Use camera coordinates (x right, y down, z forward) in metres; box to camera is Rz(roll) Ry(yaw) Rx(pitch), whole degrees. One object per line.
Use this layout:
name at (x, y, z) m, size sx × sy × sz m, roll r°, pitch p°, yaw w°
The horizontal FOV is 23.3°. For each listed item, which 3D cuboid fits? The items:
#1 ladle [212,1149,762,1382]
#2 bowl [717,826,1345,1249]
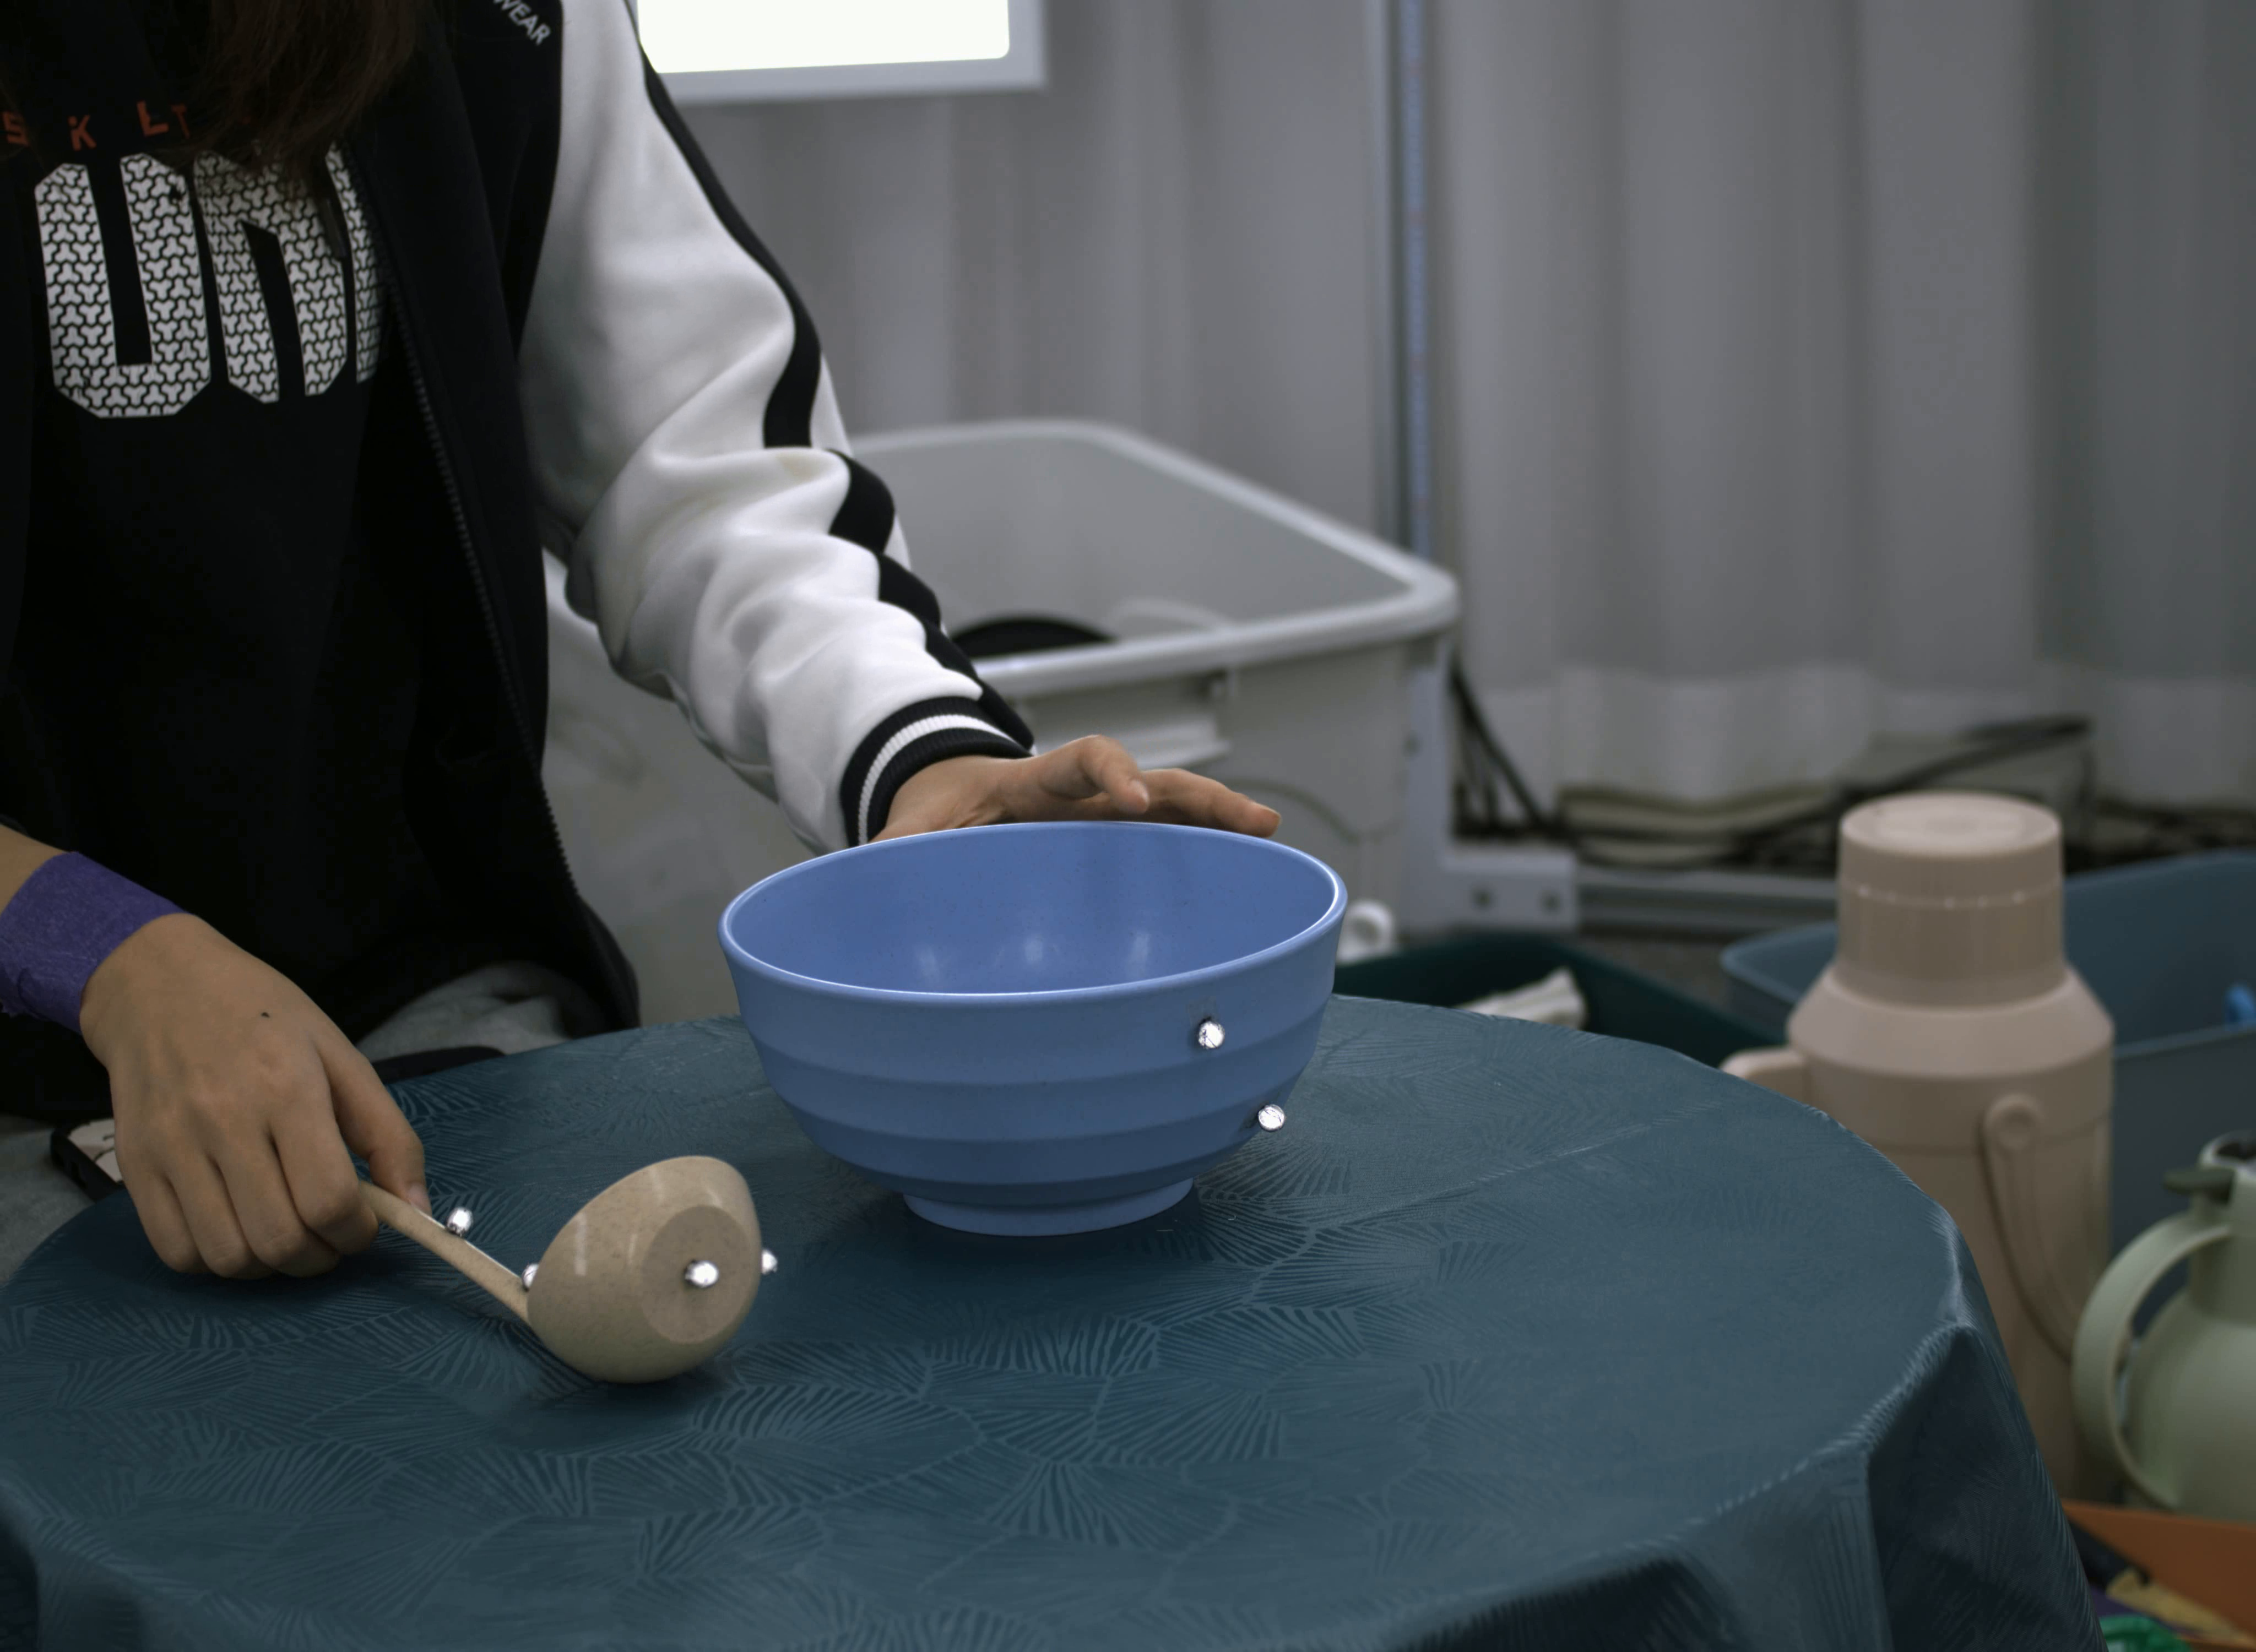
ladle at (-0.202, 0.103, 1.638) m, size 0.072 × 0.072 × 0.256 m, roll -5°, pitch 16°, yaw -40°
bowl at (-0.027, 0.072, 1.709) m, size 0.196 × 0.095 × 0.198 m, roll -4°, pitch 15°, yaw 1°
